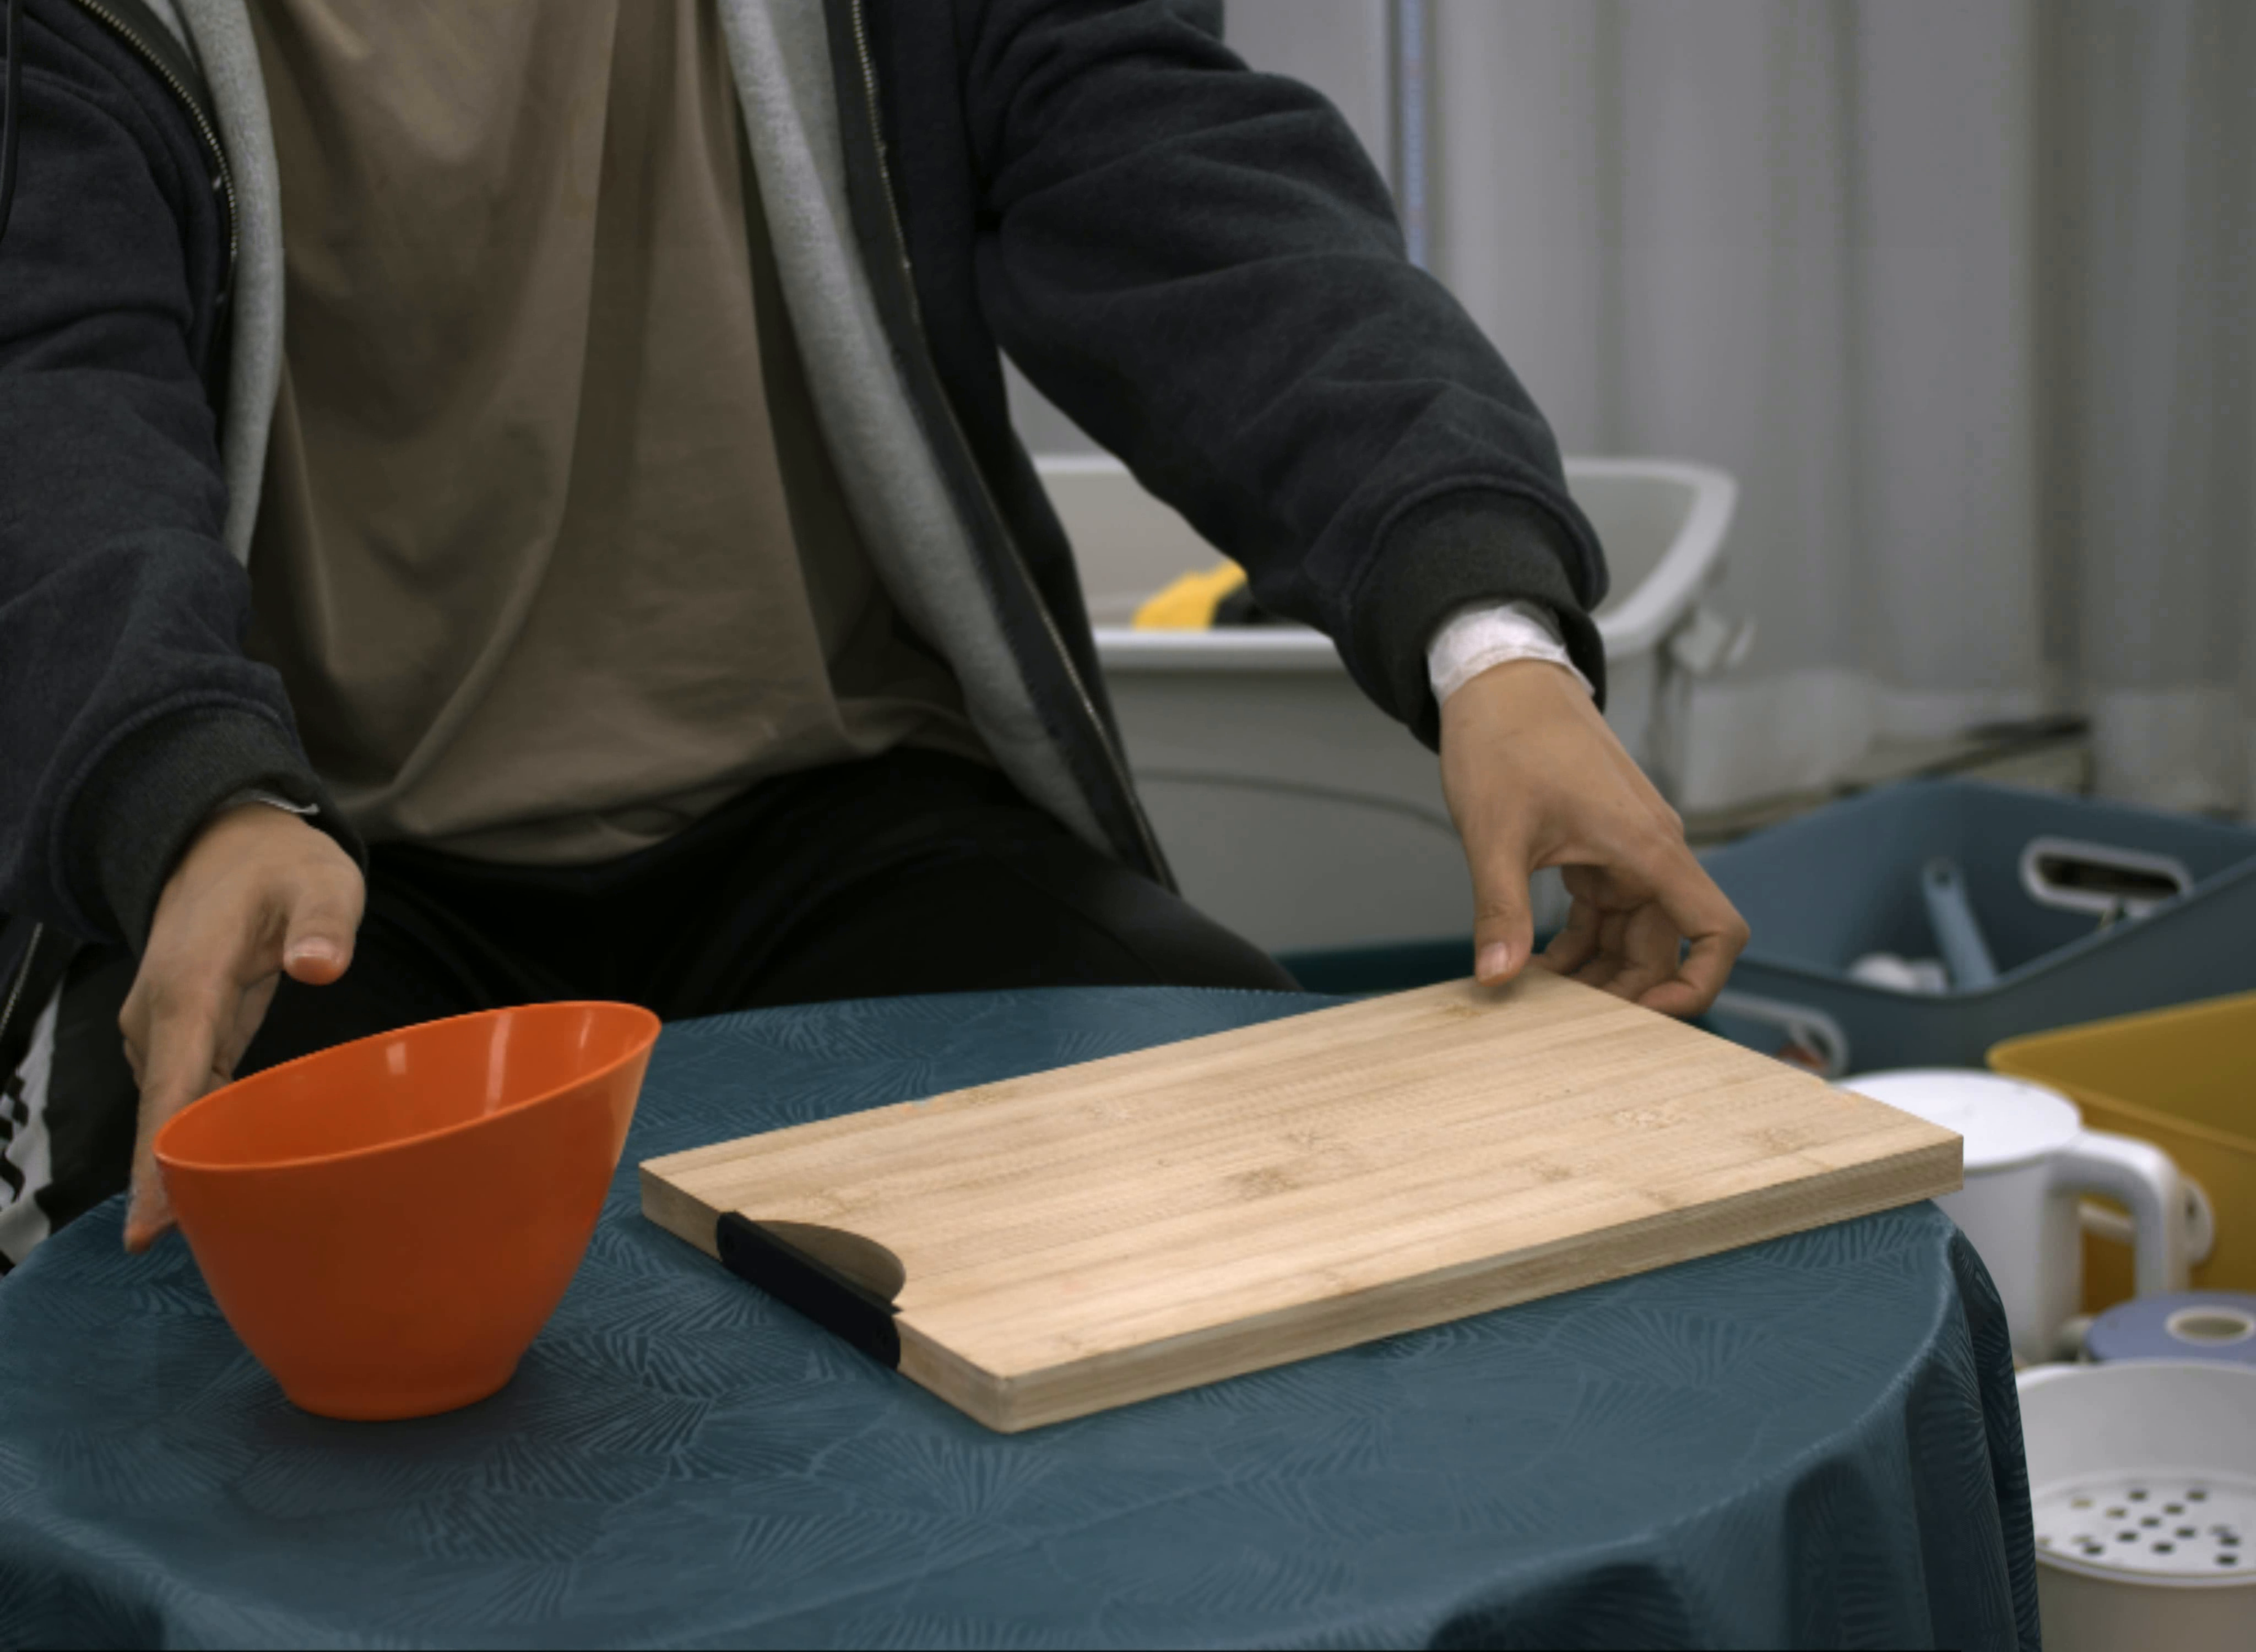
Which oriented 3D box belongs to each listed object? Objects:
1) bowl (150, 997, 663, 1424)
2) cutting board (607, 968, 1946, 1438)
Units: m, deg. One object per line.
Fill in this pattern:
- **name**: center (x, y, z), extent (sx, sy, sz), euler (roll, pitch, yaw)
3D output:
- **bowl**: center (-0.203, 0.112, 1.568), extent (0.147, 0.104, 0.149), euler (-3, 17, 1)
- **cutting board**: center (0.046, 0.110, 1.693), extent (0.347, 0.023, 0.252), euler (-11, 16, -29)
